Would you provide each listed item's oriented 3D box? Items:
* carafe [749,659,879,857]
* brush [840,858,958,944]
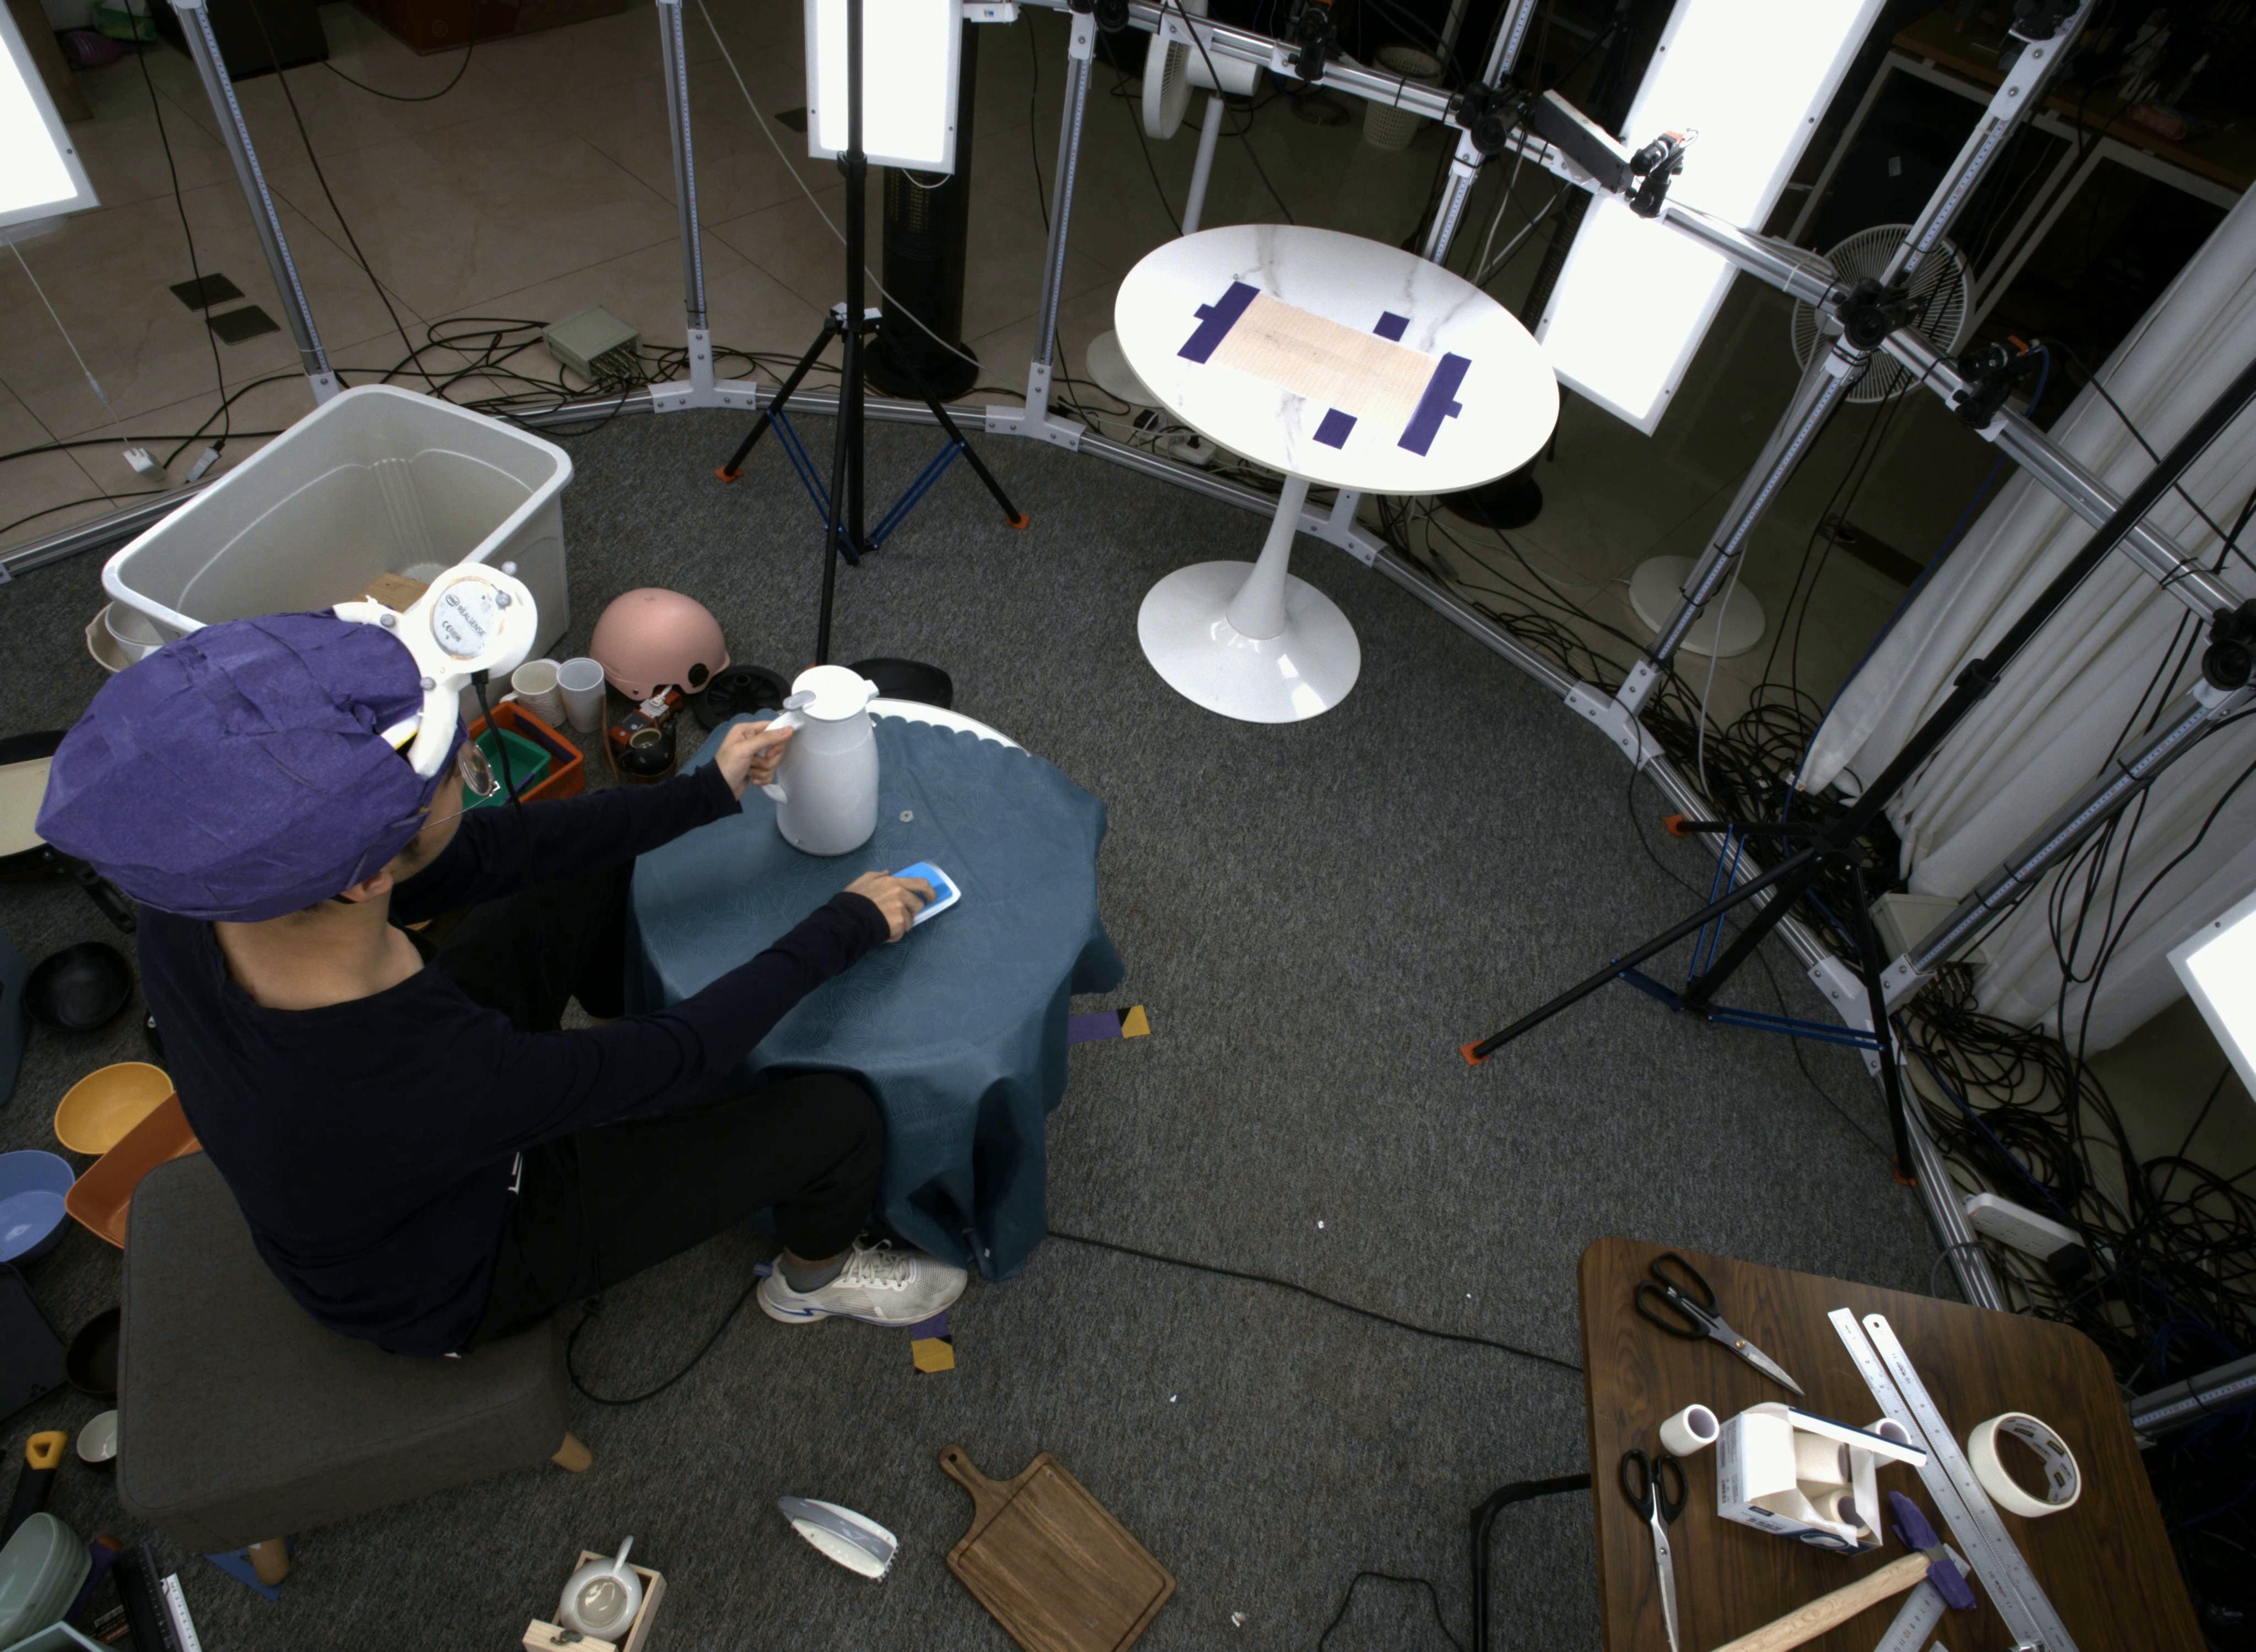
[{"bbox_3d":[-0.394,-0.083,1.629,0.168,0.254,0.129,-28,62,-30],"label":"carafe"},{"bbox_3d":[-0.291,0.086,1.656,0.144,0.057,0.081,-26,59,-30],"label":"brush"}]
